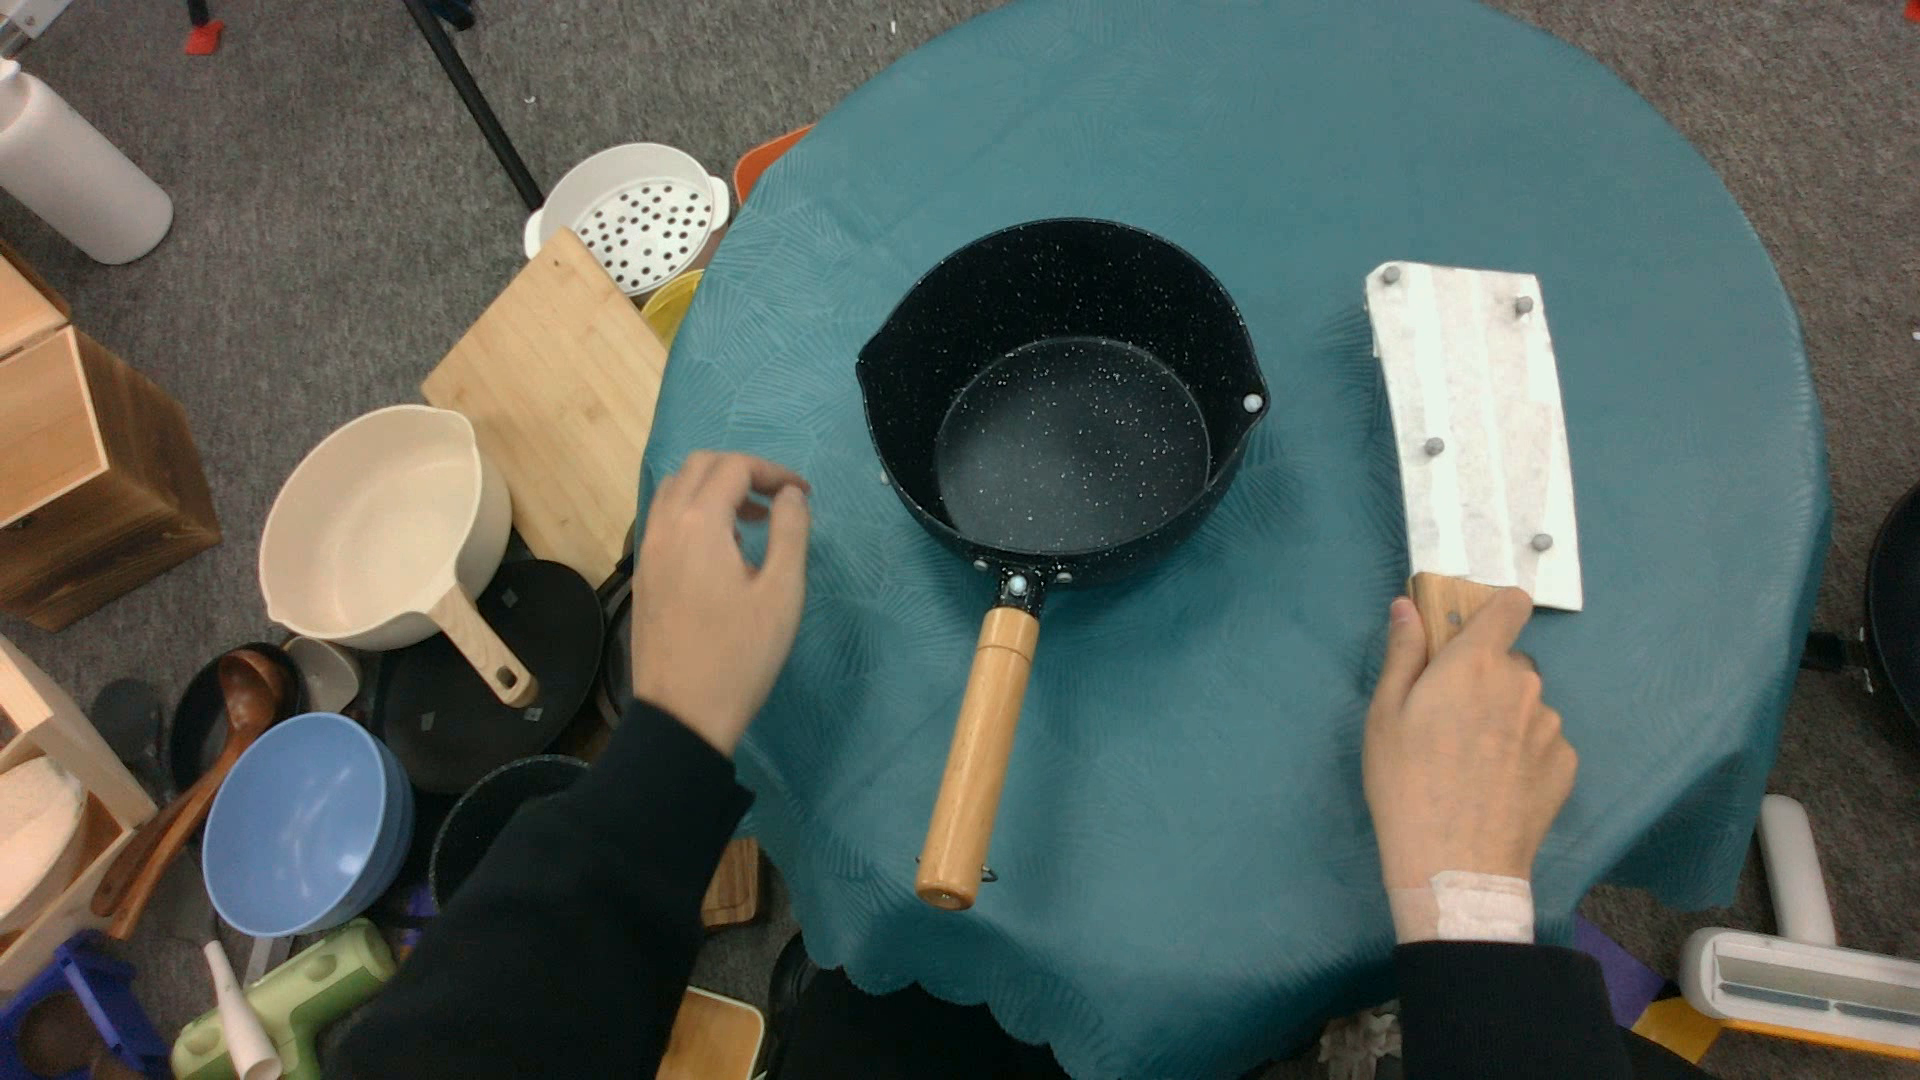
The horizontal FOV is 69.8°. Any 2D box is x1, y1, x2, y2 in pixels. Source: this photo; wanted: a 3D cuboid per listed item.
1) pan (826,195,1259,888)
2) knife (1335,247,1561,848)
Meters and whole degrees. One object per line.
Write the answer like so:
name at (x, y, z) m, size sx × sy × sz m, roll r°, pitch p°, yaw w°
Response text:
pan at (0.027, -0.002, 0.643) m, size 0.207 × 0.108 × 0.344 m, roll 6°, pitch 66°, yaw 11°
knife at (0.232, -0.012, 0.652) m, size 0.114 × 0.021 × 0.316 m, roll 10°, pitch 66°, yaw -9°
